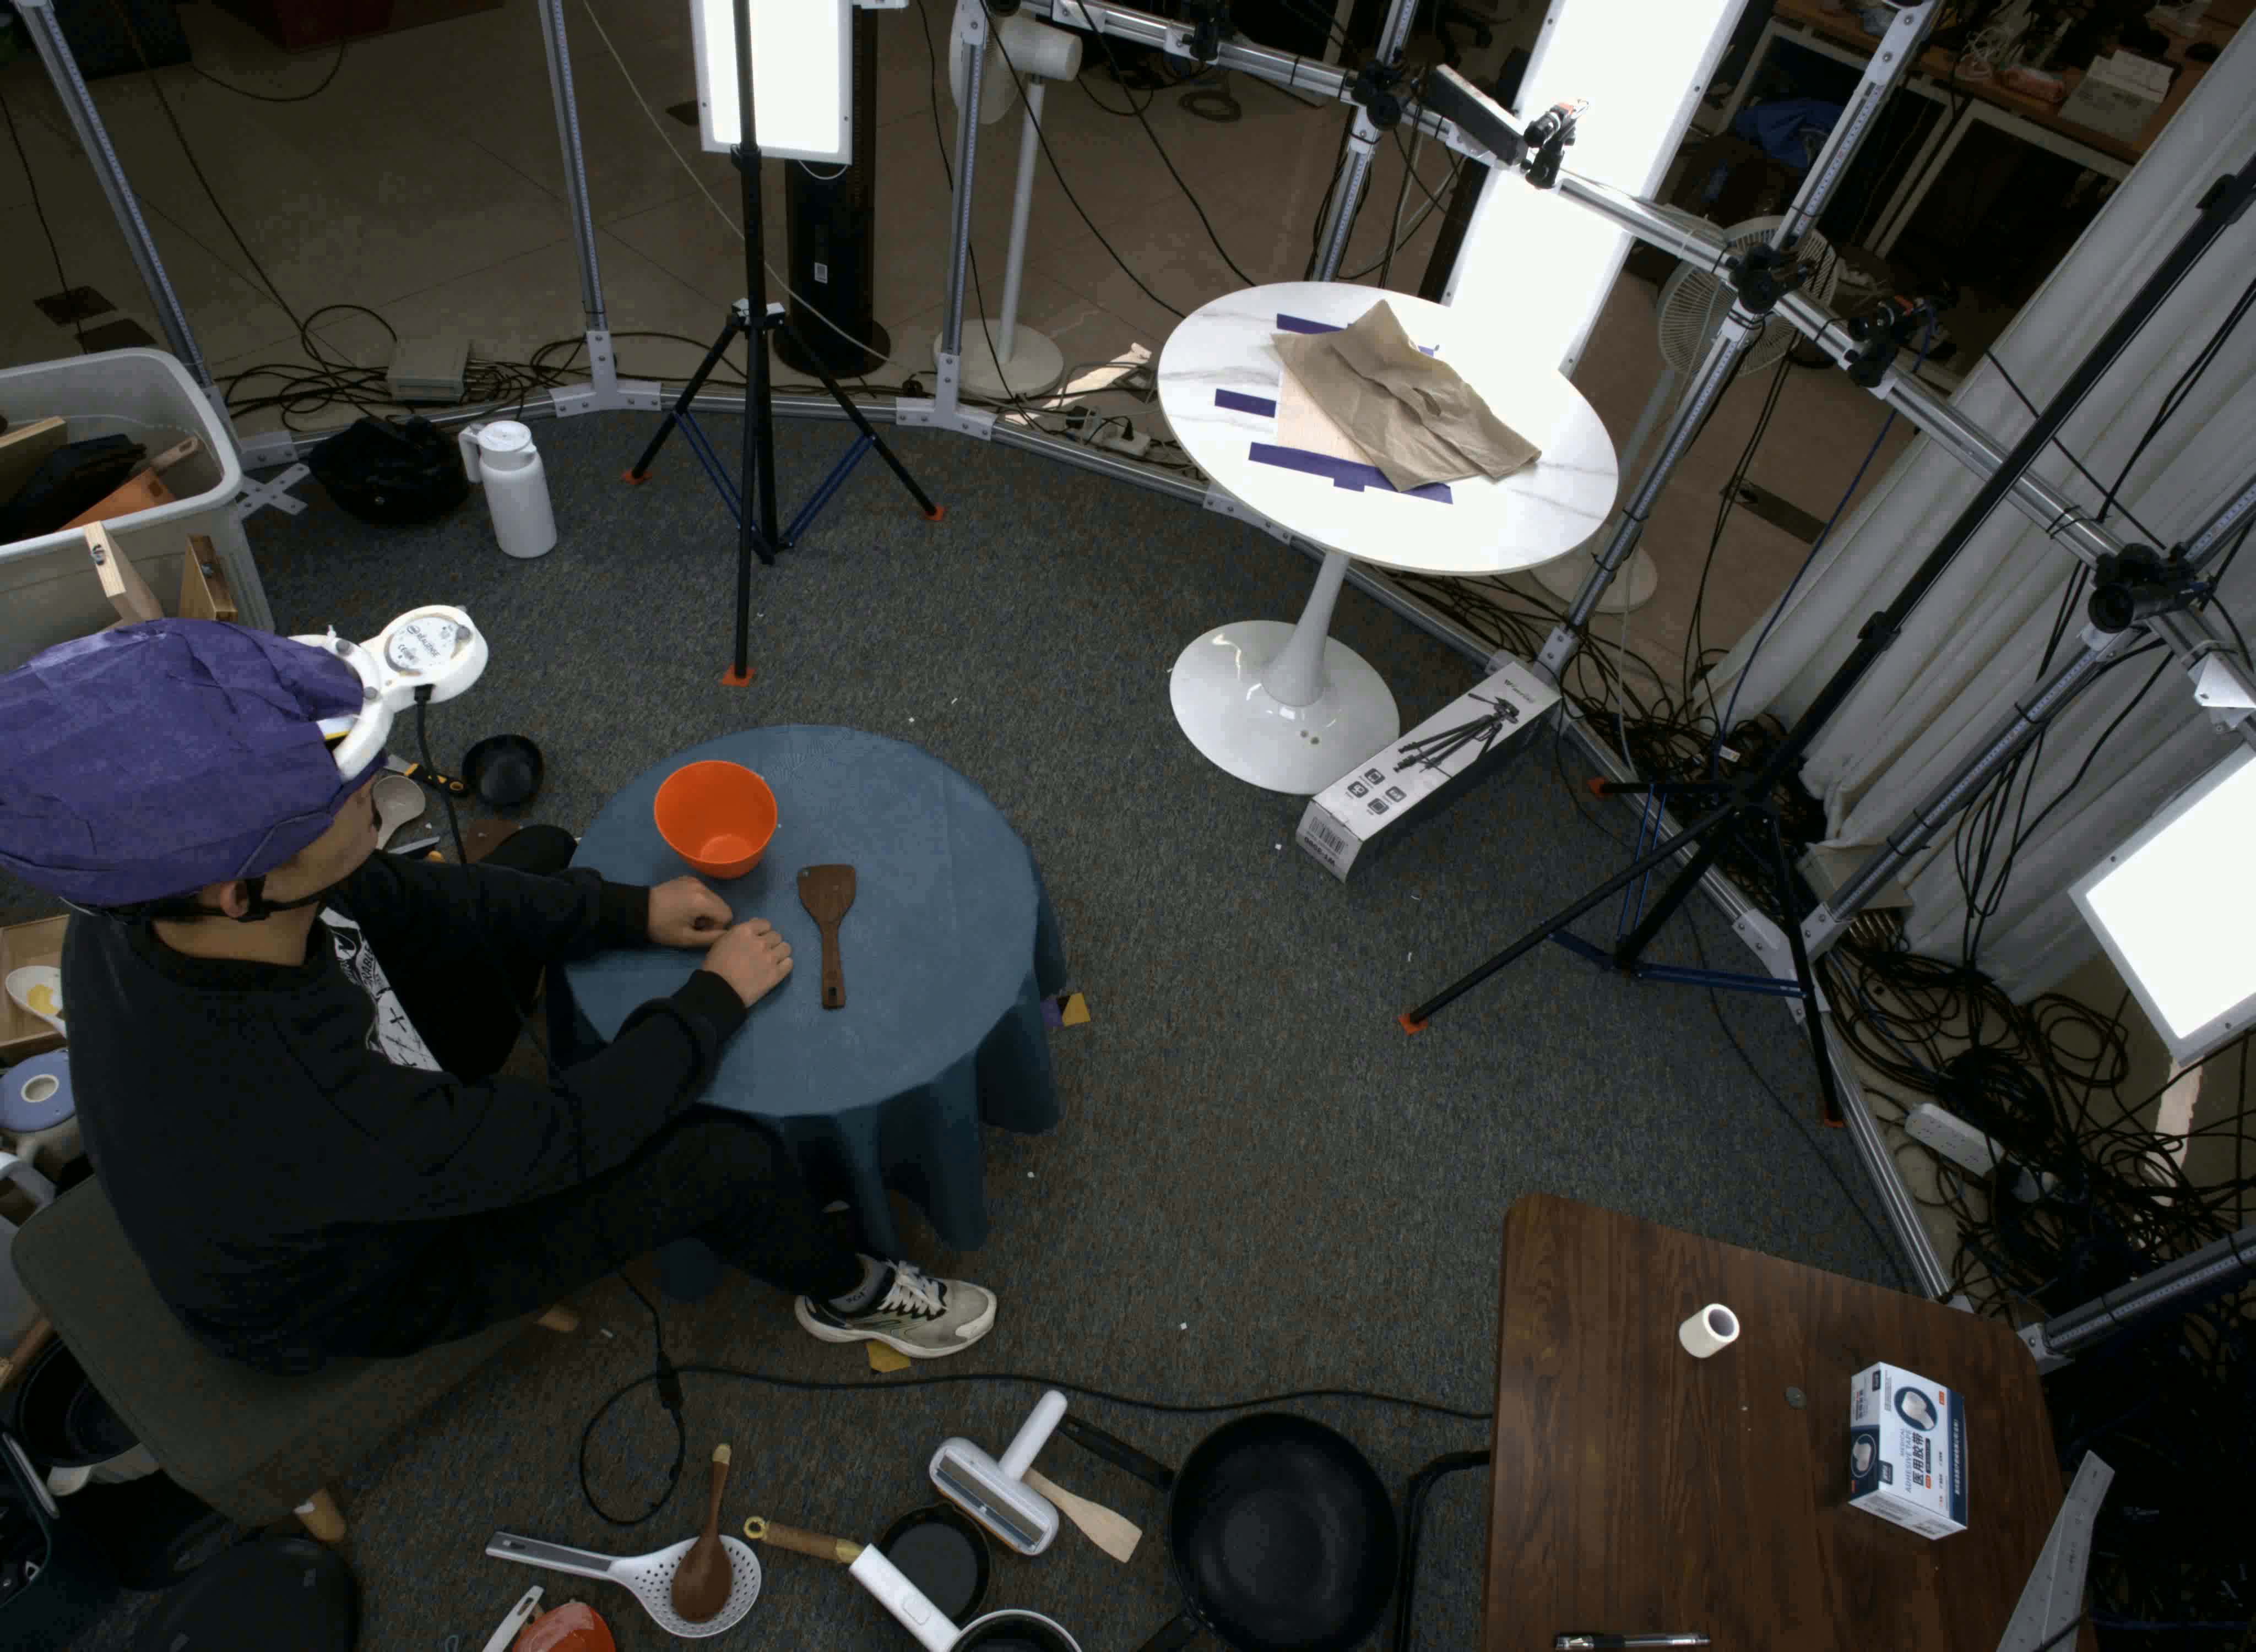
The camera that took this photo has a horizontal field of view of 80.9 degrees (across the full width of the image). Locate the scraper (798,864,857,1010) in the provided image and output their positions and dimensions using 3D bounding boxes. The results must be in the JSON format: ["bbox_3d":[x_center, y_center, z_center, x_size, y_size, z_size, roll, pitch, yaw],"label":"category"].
[{"bbox_3d":[-0.375,0.136,1.635,0.076,0.011,0.207,-2,55,-14],"label":"scraper"}]

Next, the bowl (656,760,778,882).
[{"bbox_3d":[-0.517,0.004,1.636,0.148,0.107,0.145,8,51,-8],"label":"bowl"}]
